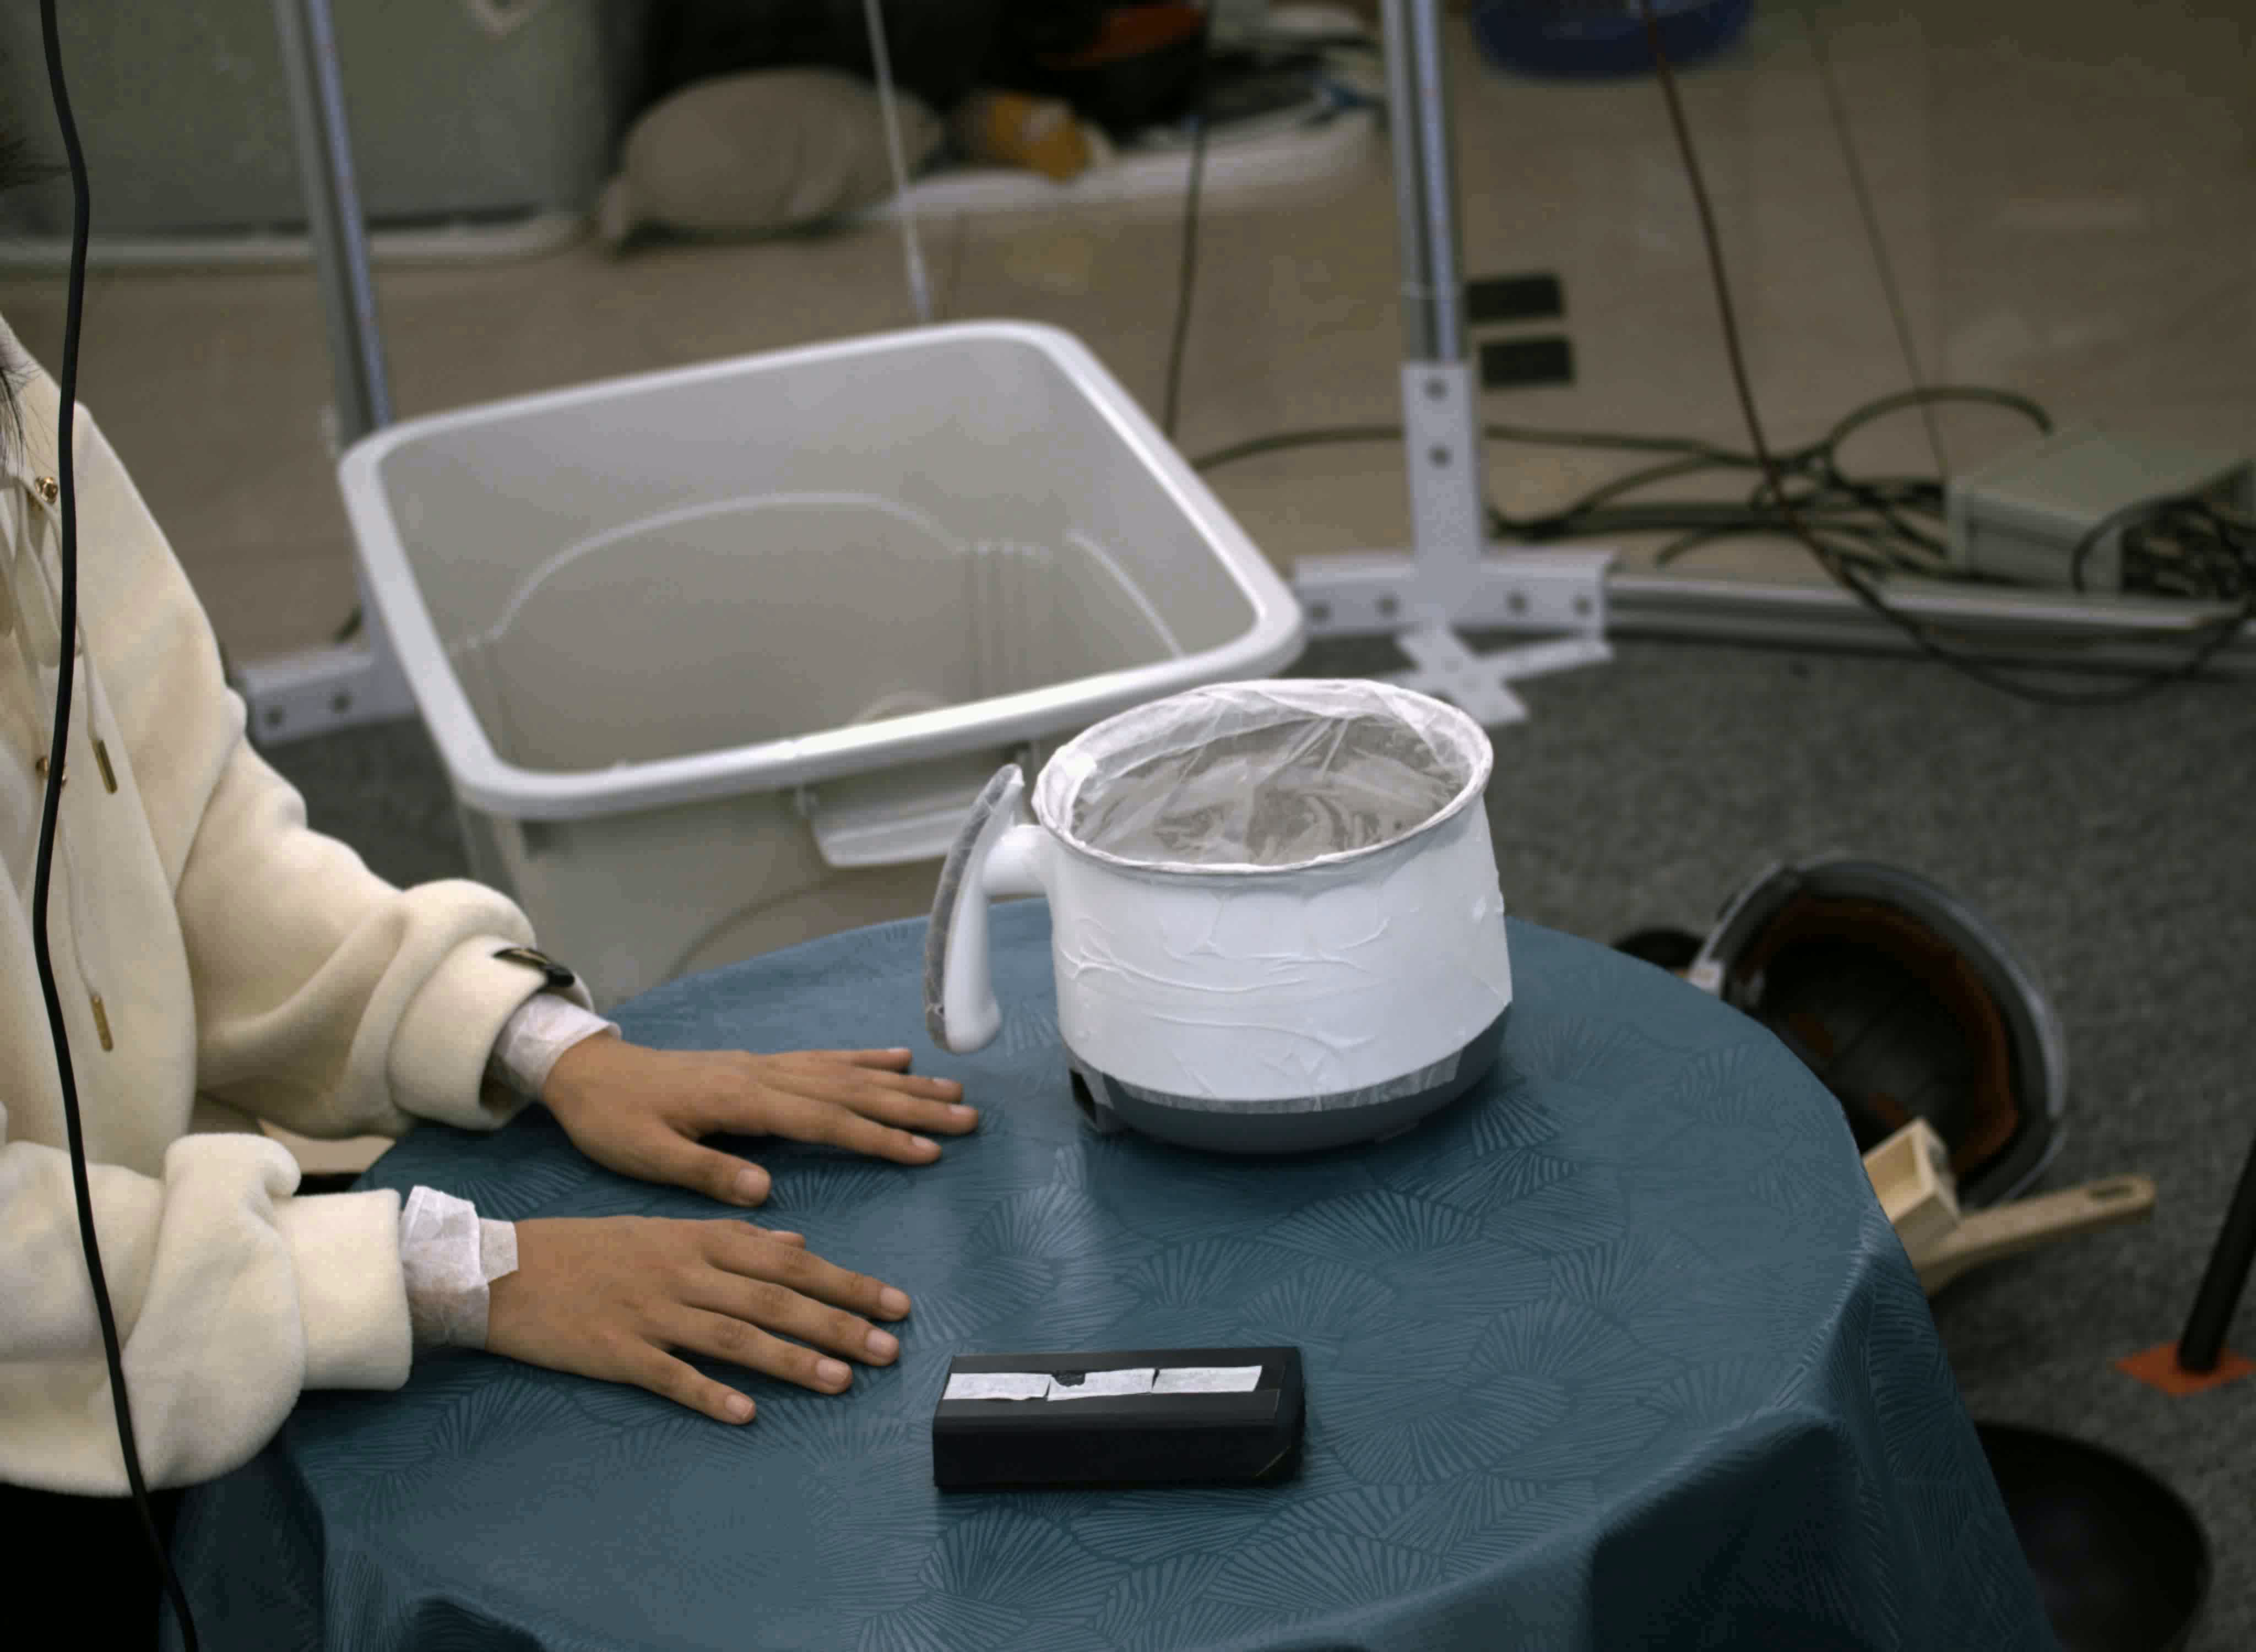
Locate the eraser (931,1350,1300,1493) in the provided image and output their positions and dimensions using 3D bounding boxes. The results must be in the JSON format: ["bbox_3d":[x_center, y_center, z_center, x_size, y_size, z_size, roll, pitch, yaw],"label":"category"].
[{"bbox_3d":[-0.003,0.206,1.972,0.125,0.031,0.053,-3,25,11],"label":"eraser"}]

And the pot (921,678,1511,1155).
[{"bbox_3d":[0.031,0.037,2.193,0.233,0.139,0.176,-1,26,11],"label":"pot"}]
